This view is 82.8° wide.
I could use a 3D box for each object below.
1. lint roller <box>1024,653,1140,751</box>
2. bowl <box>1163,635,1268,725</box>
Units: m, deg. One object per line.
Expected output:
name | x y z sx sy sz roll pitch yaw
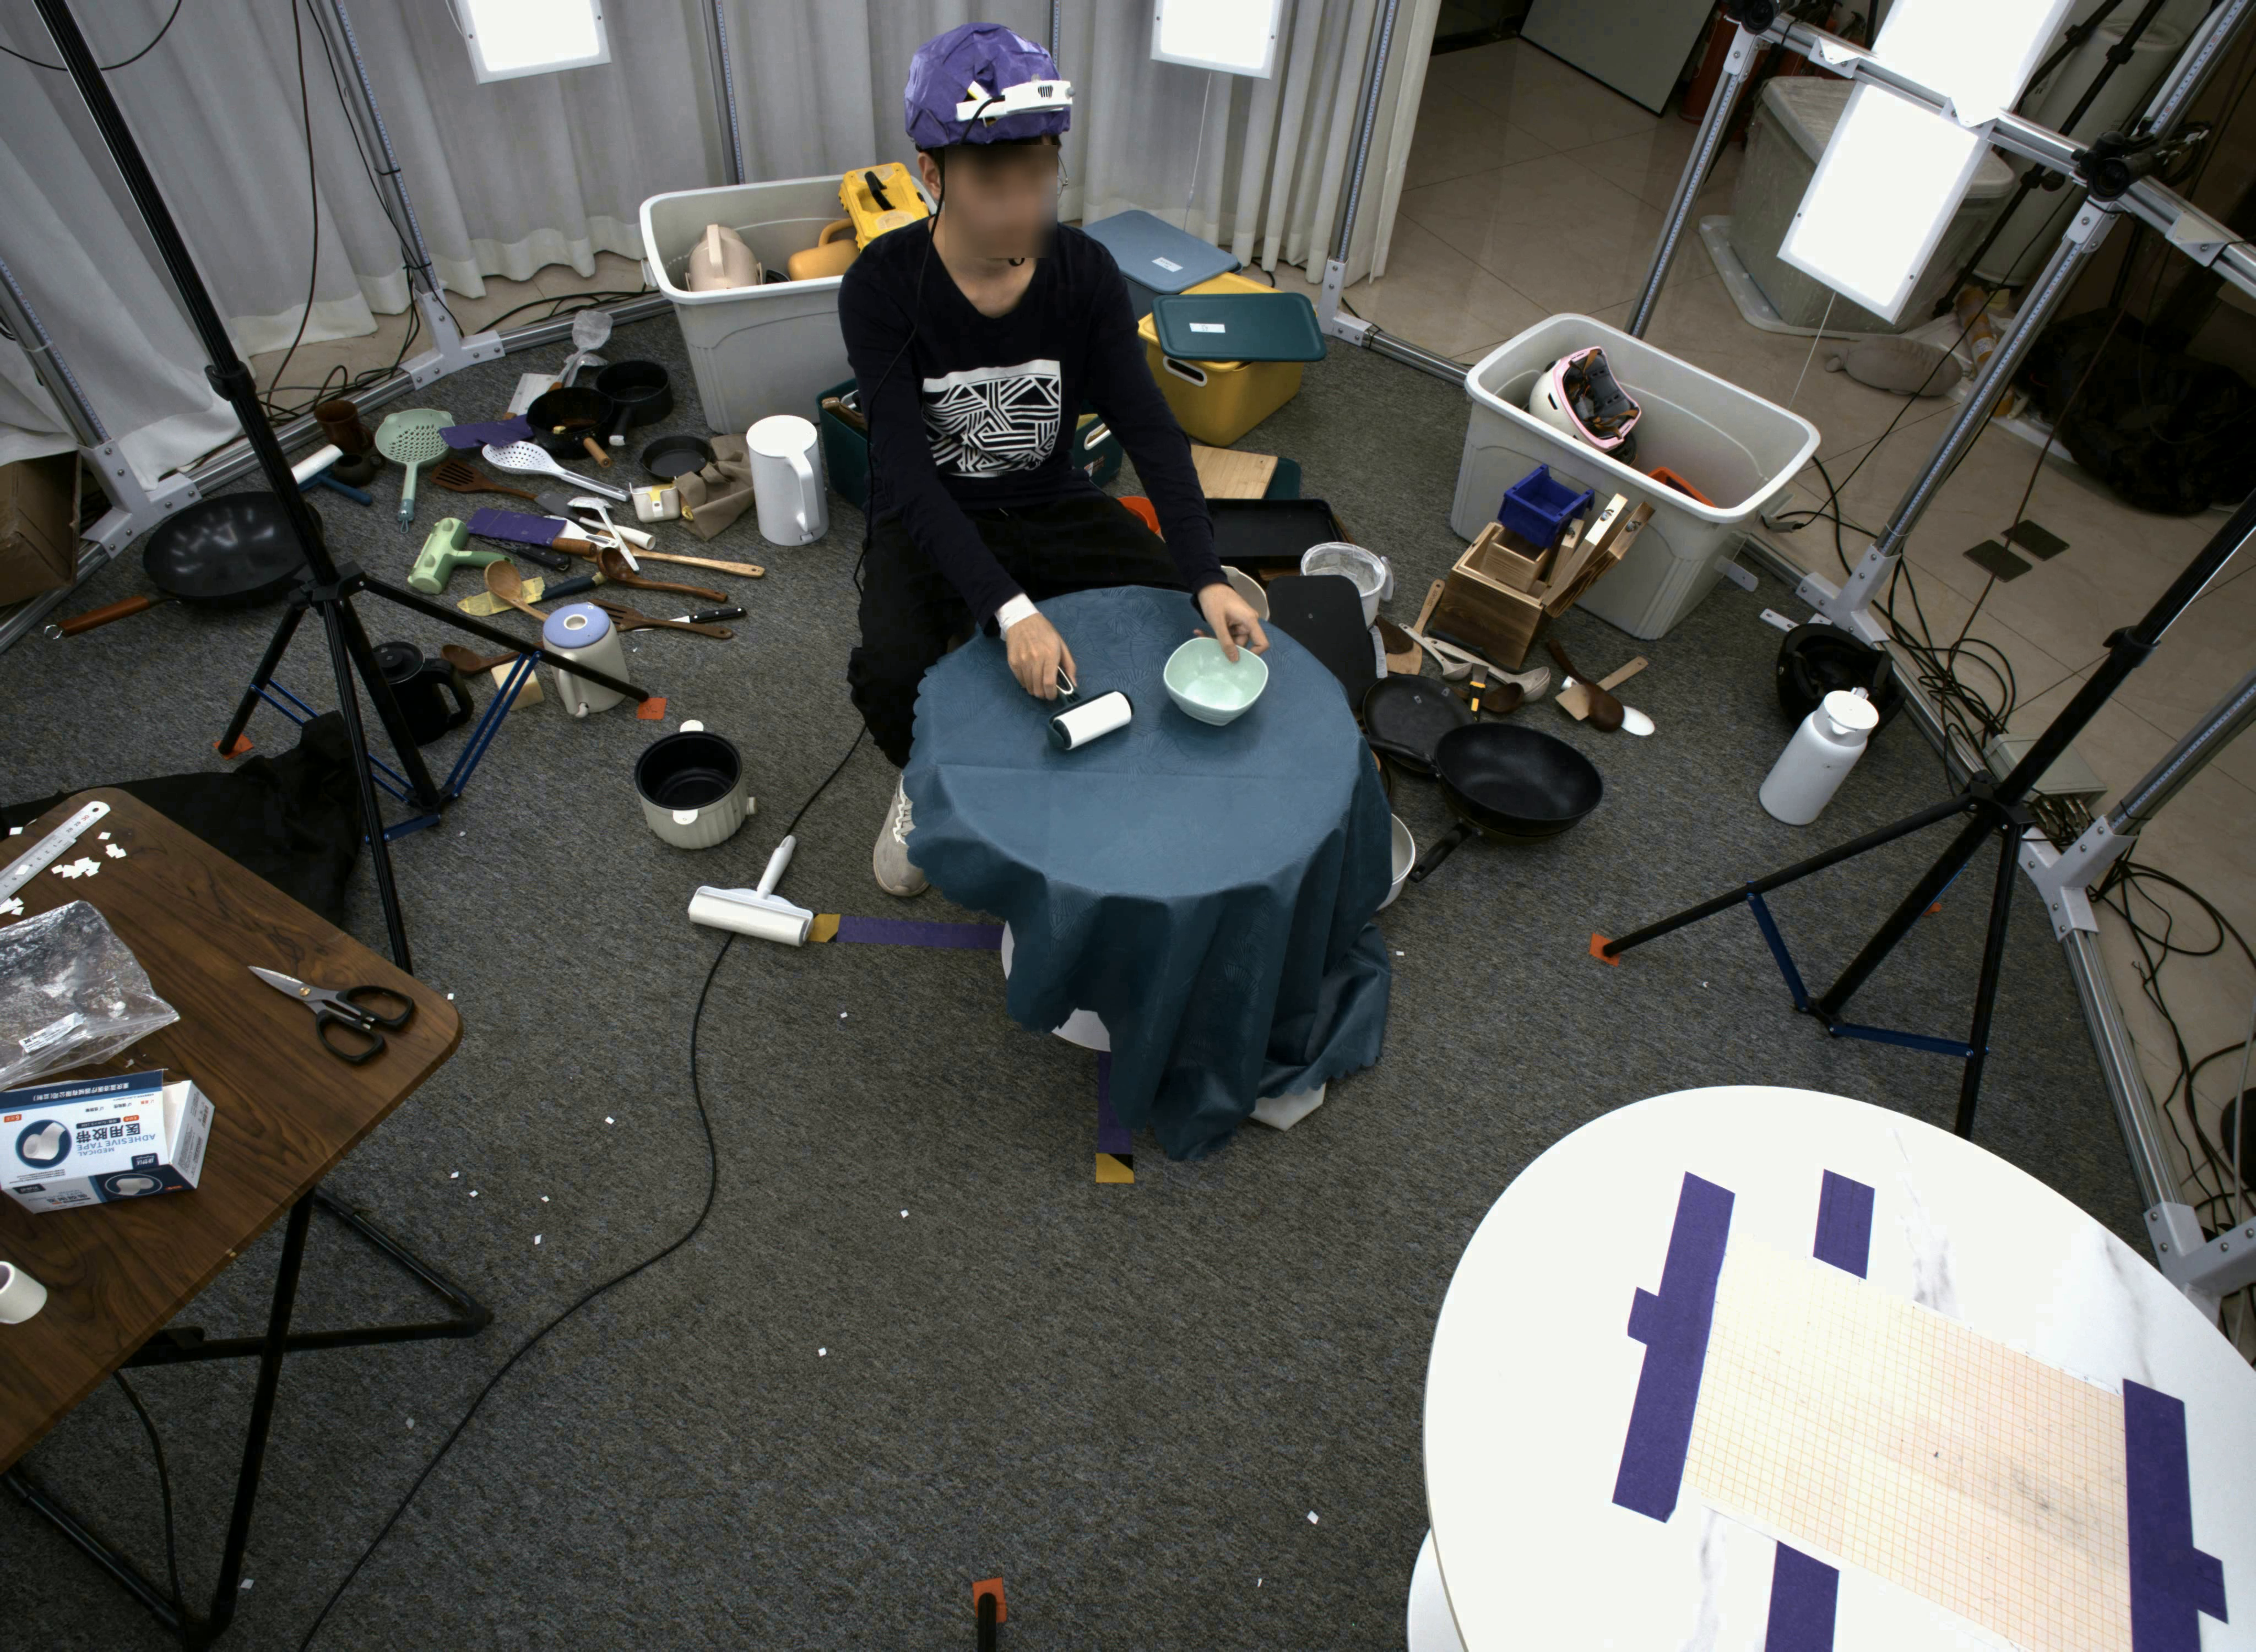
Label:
lint roller | -0.087 -0.192 1.781 0.135 0.047 0.183 -26 64 -26
bowl | 0.120 -0.197 1.809 0.151 0.057 0.155 3 51 -4
